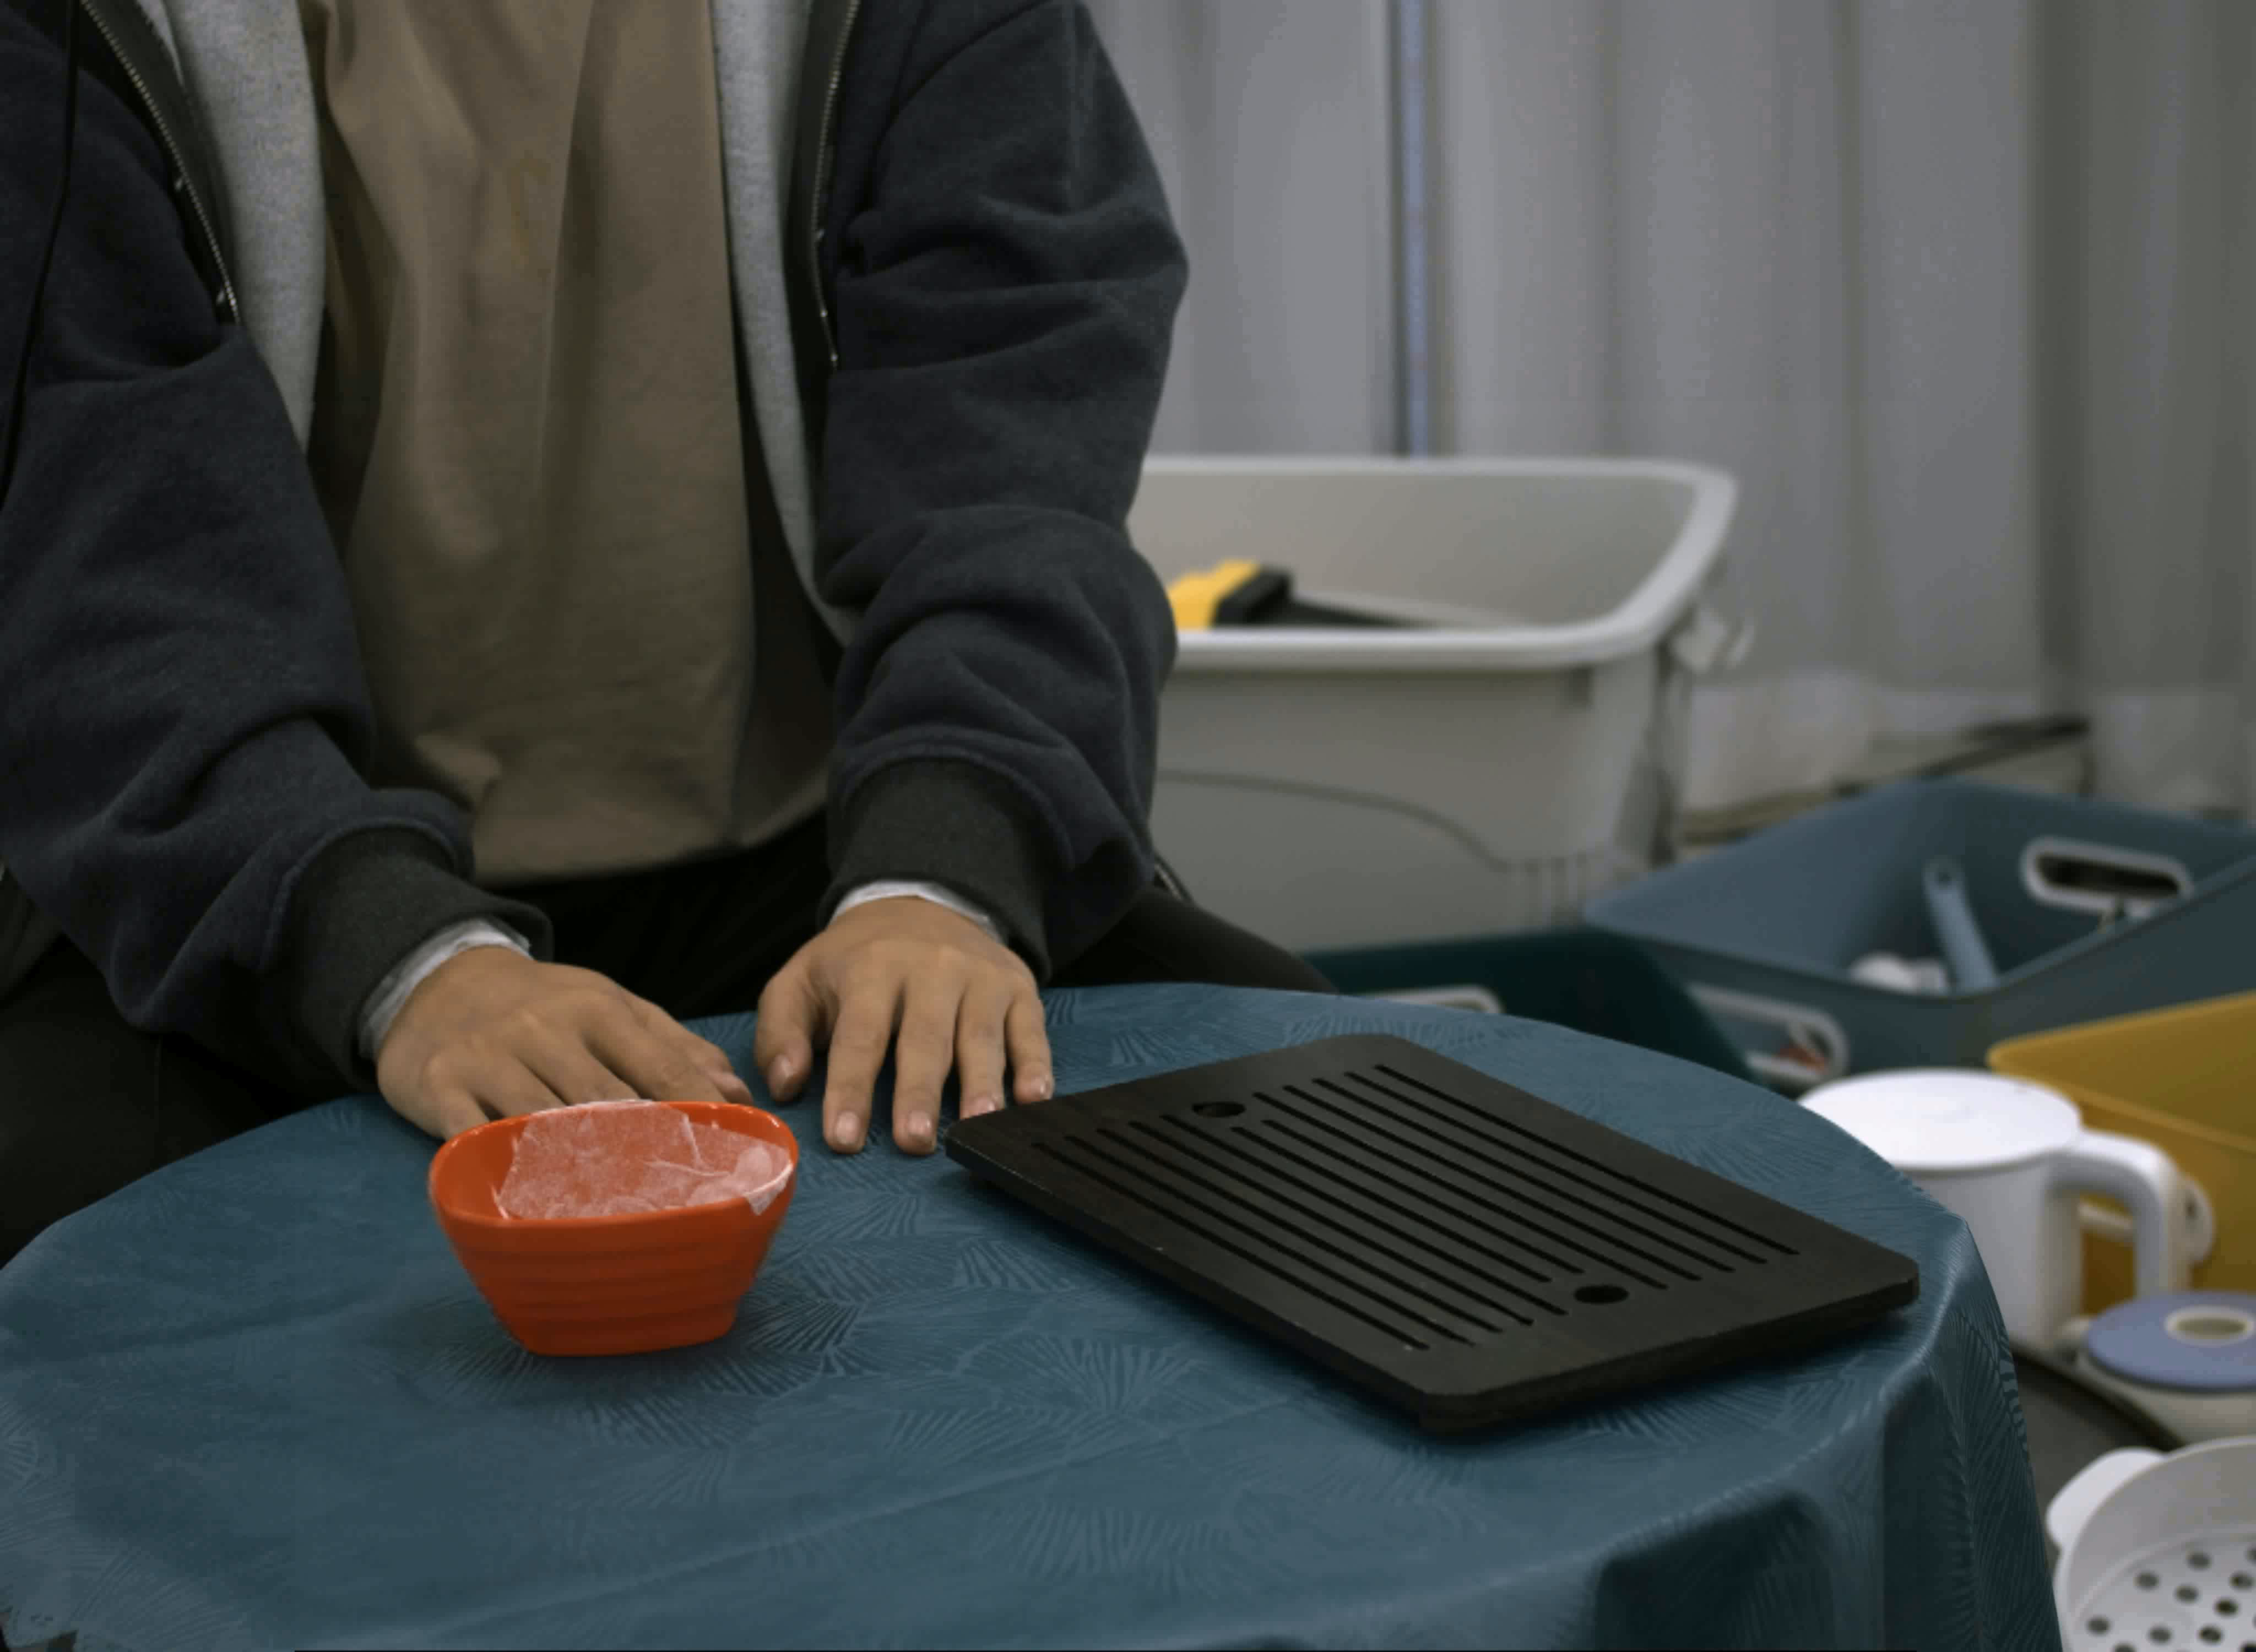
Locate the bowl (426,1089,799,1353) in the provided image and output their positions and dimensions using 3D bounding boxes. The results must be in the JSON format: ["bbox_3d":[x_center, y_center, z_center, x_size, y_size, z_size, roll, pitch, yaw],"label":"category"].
[{"bbox_3d":[-0.151,0.120,1.621,0.118,0.051,0.120,-3,16,1],"label":"bowl"}]

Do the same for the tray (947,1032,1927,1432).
[{"bbox_3d":[0.086,0.118,1.650,0.169,0.018,0.308,-11,17,-27],"label":"tray"}]
